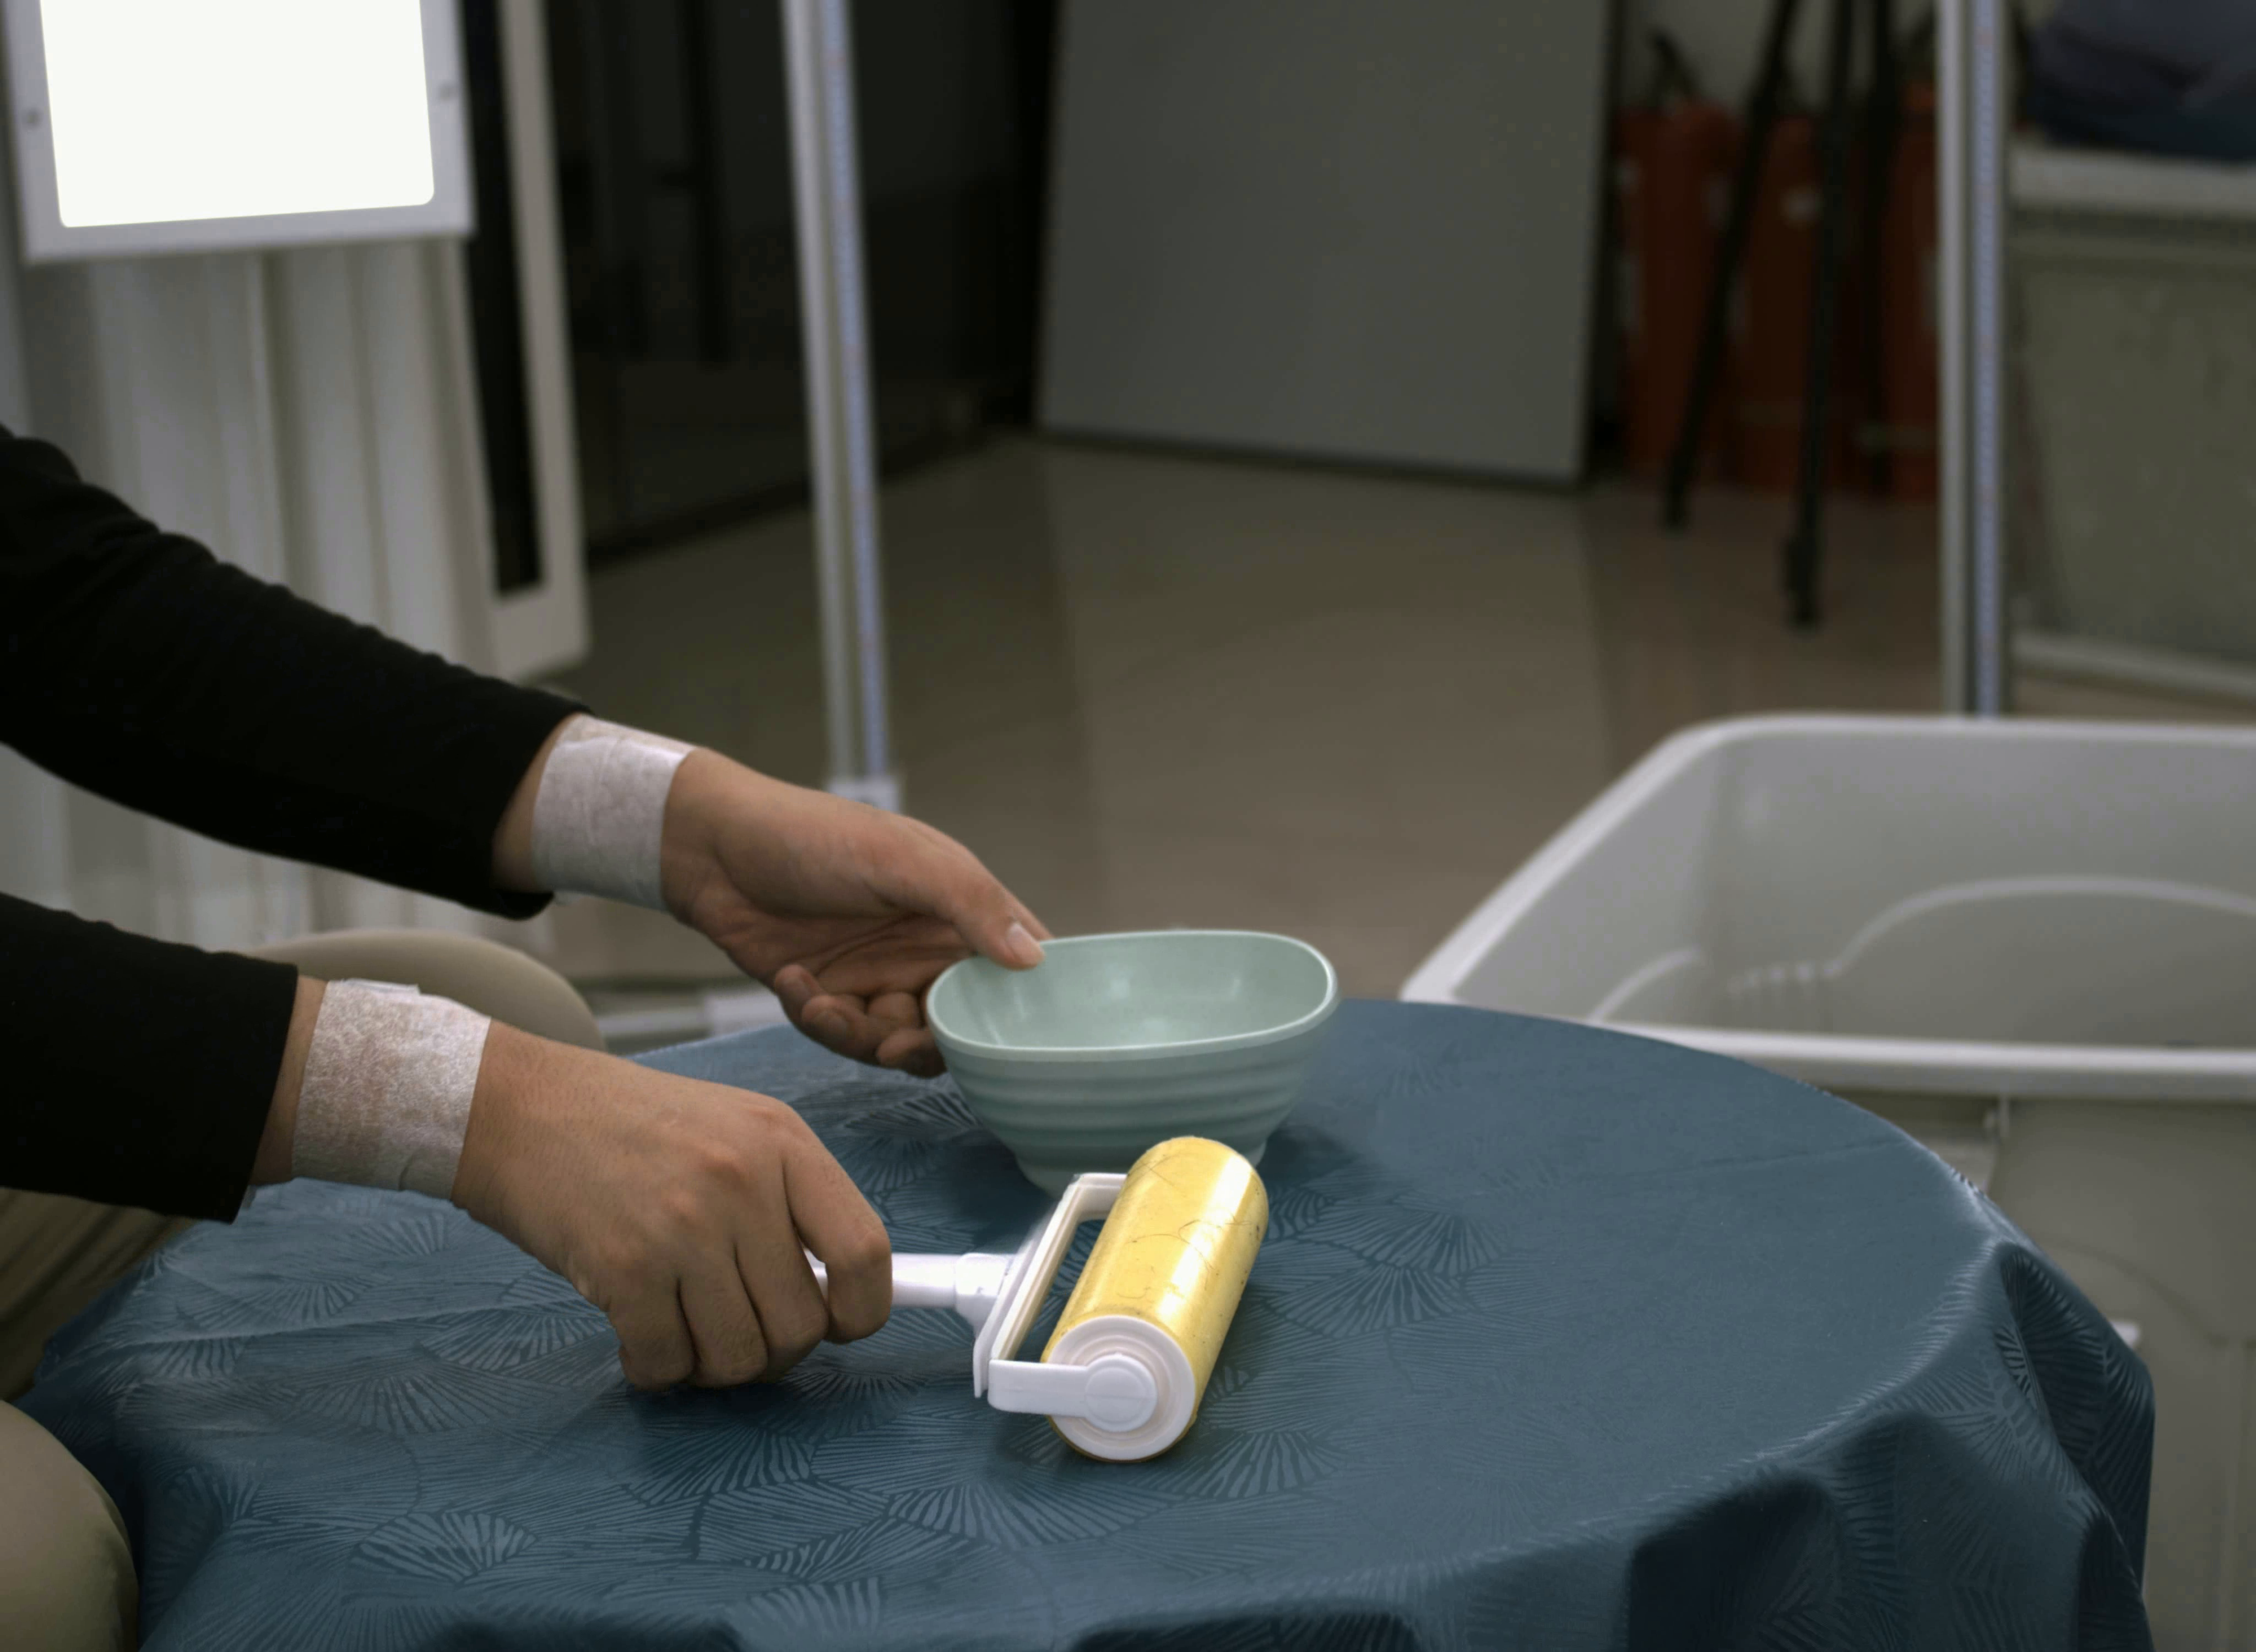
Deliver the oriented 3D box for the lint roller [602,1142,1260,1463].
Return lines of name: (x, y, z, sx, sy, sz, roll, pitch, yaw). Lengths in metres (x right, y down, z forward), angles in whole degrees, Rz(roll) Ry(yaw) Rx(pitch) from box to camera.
lint roller: (-0.061, 0.129, 1.605, 0.190, 0.052, 0.174, 10, 15, 5)

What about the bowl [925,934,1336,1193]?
bowl: (0.002, 0.083, 1.807, 0.149, 0.059, 0.152, -3, 14, 0)
